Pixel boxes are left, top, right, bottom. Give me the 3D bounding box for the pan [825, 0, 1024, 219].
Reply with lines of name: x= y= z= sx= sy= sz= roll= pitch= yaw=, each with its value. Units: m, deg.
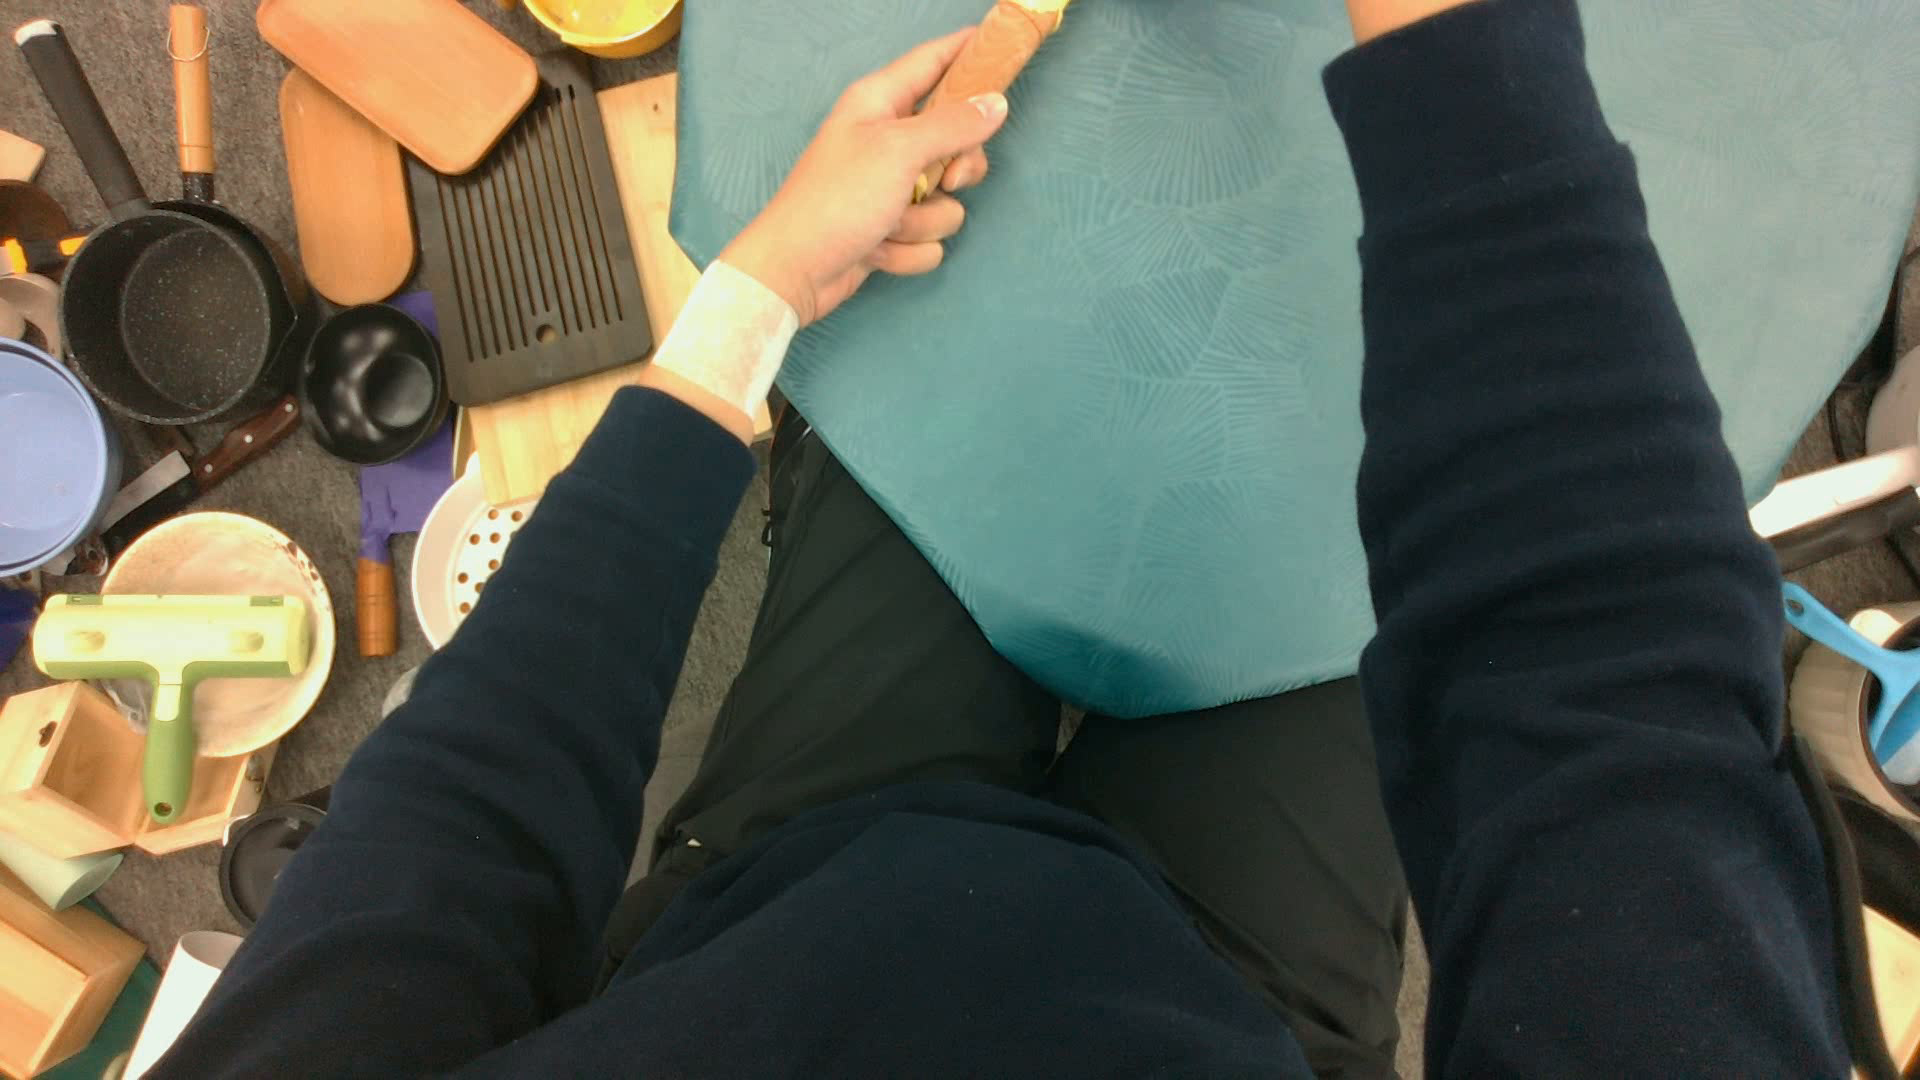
pan: x=0.034 y=-0.282 z=0.633 sx=0.169 sy=0.049 sz=0.324 roll=35 pitch=89 yaw=0
